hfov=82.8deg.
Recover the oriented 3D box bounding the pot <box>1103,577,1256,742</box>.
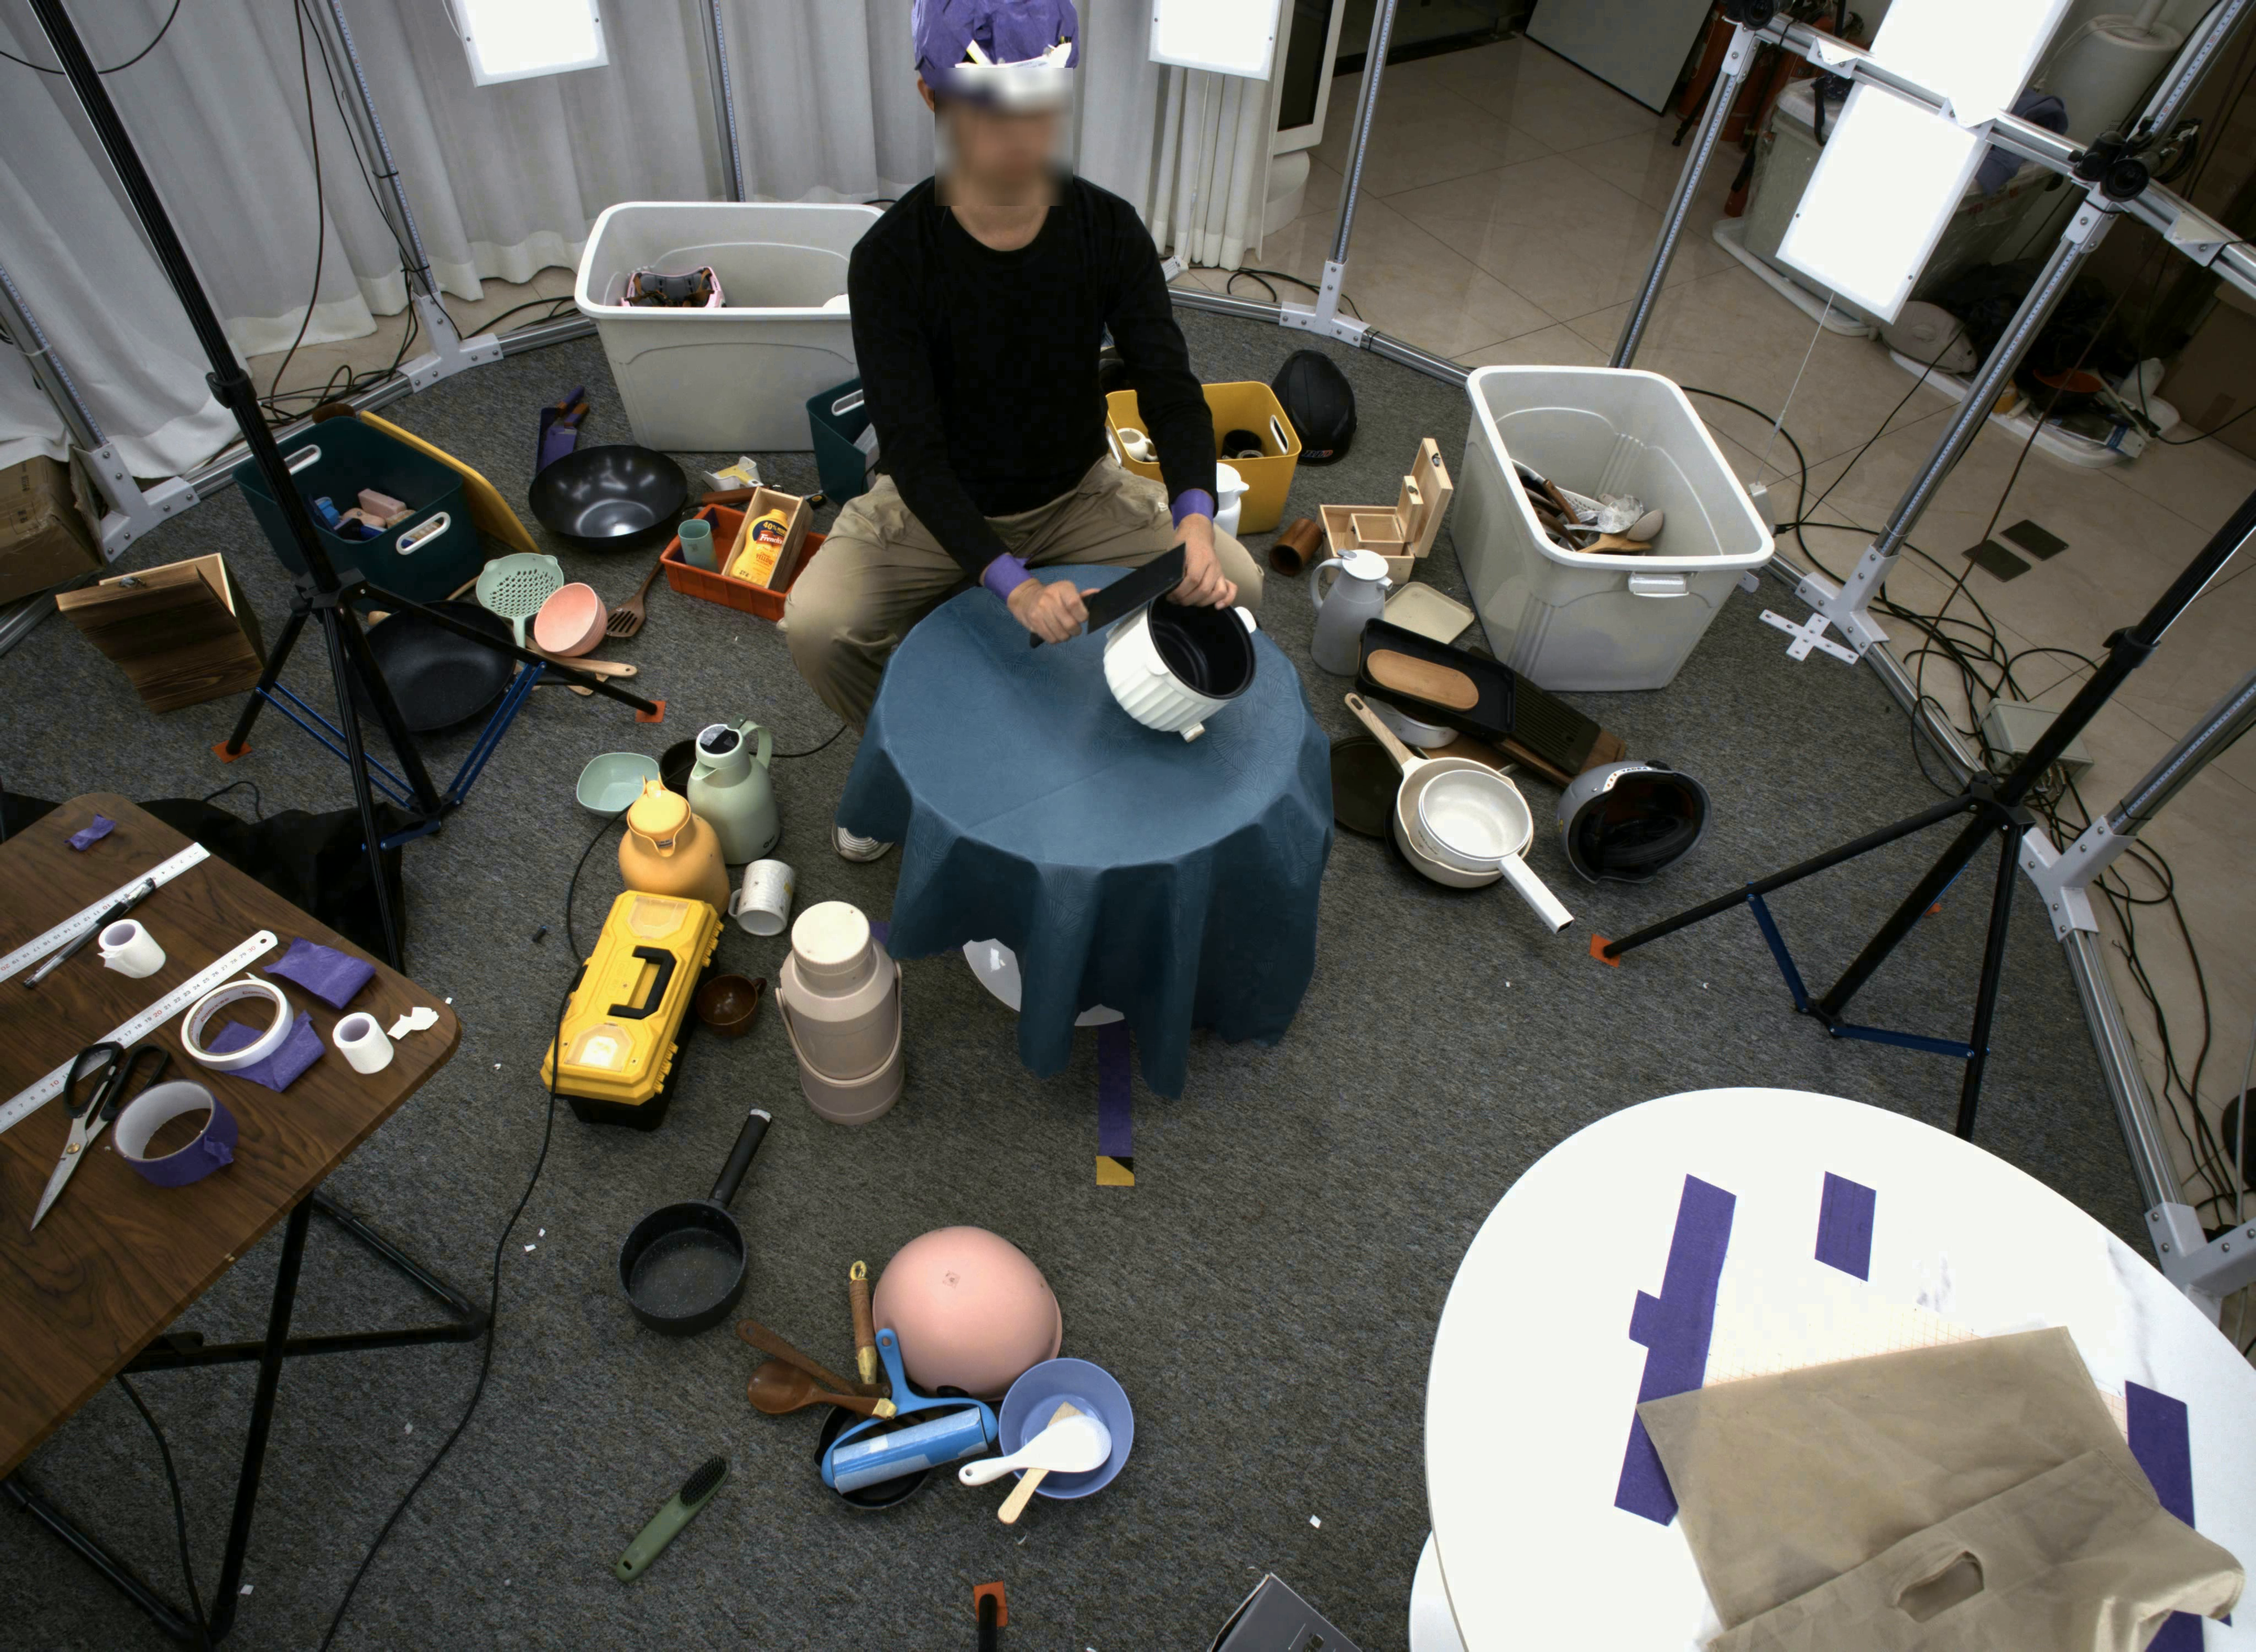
[{"bbox_3d":[0.066,-0.220,1.746,0.242,0.141,0.191,-30,83,-42],"label":"pot"}]

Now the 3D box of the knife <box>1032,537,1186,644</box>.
[{"bbox_3d":[-0.029,-0.302,1.722,0.020,0.301,0.082,29,59,-35],"label":"knife"}]
